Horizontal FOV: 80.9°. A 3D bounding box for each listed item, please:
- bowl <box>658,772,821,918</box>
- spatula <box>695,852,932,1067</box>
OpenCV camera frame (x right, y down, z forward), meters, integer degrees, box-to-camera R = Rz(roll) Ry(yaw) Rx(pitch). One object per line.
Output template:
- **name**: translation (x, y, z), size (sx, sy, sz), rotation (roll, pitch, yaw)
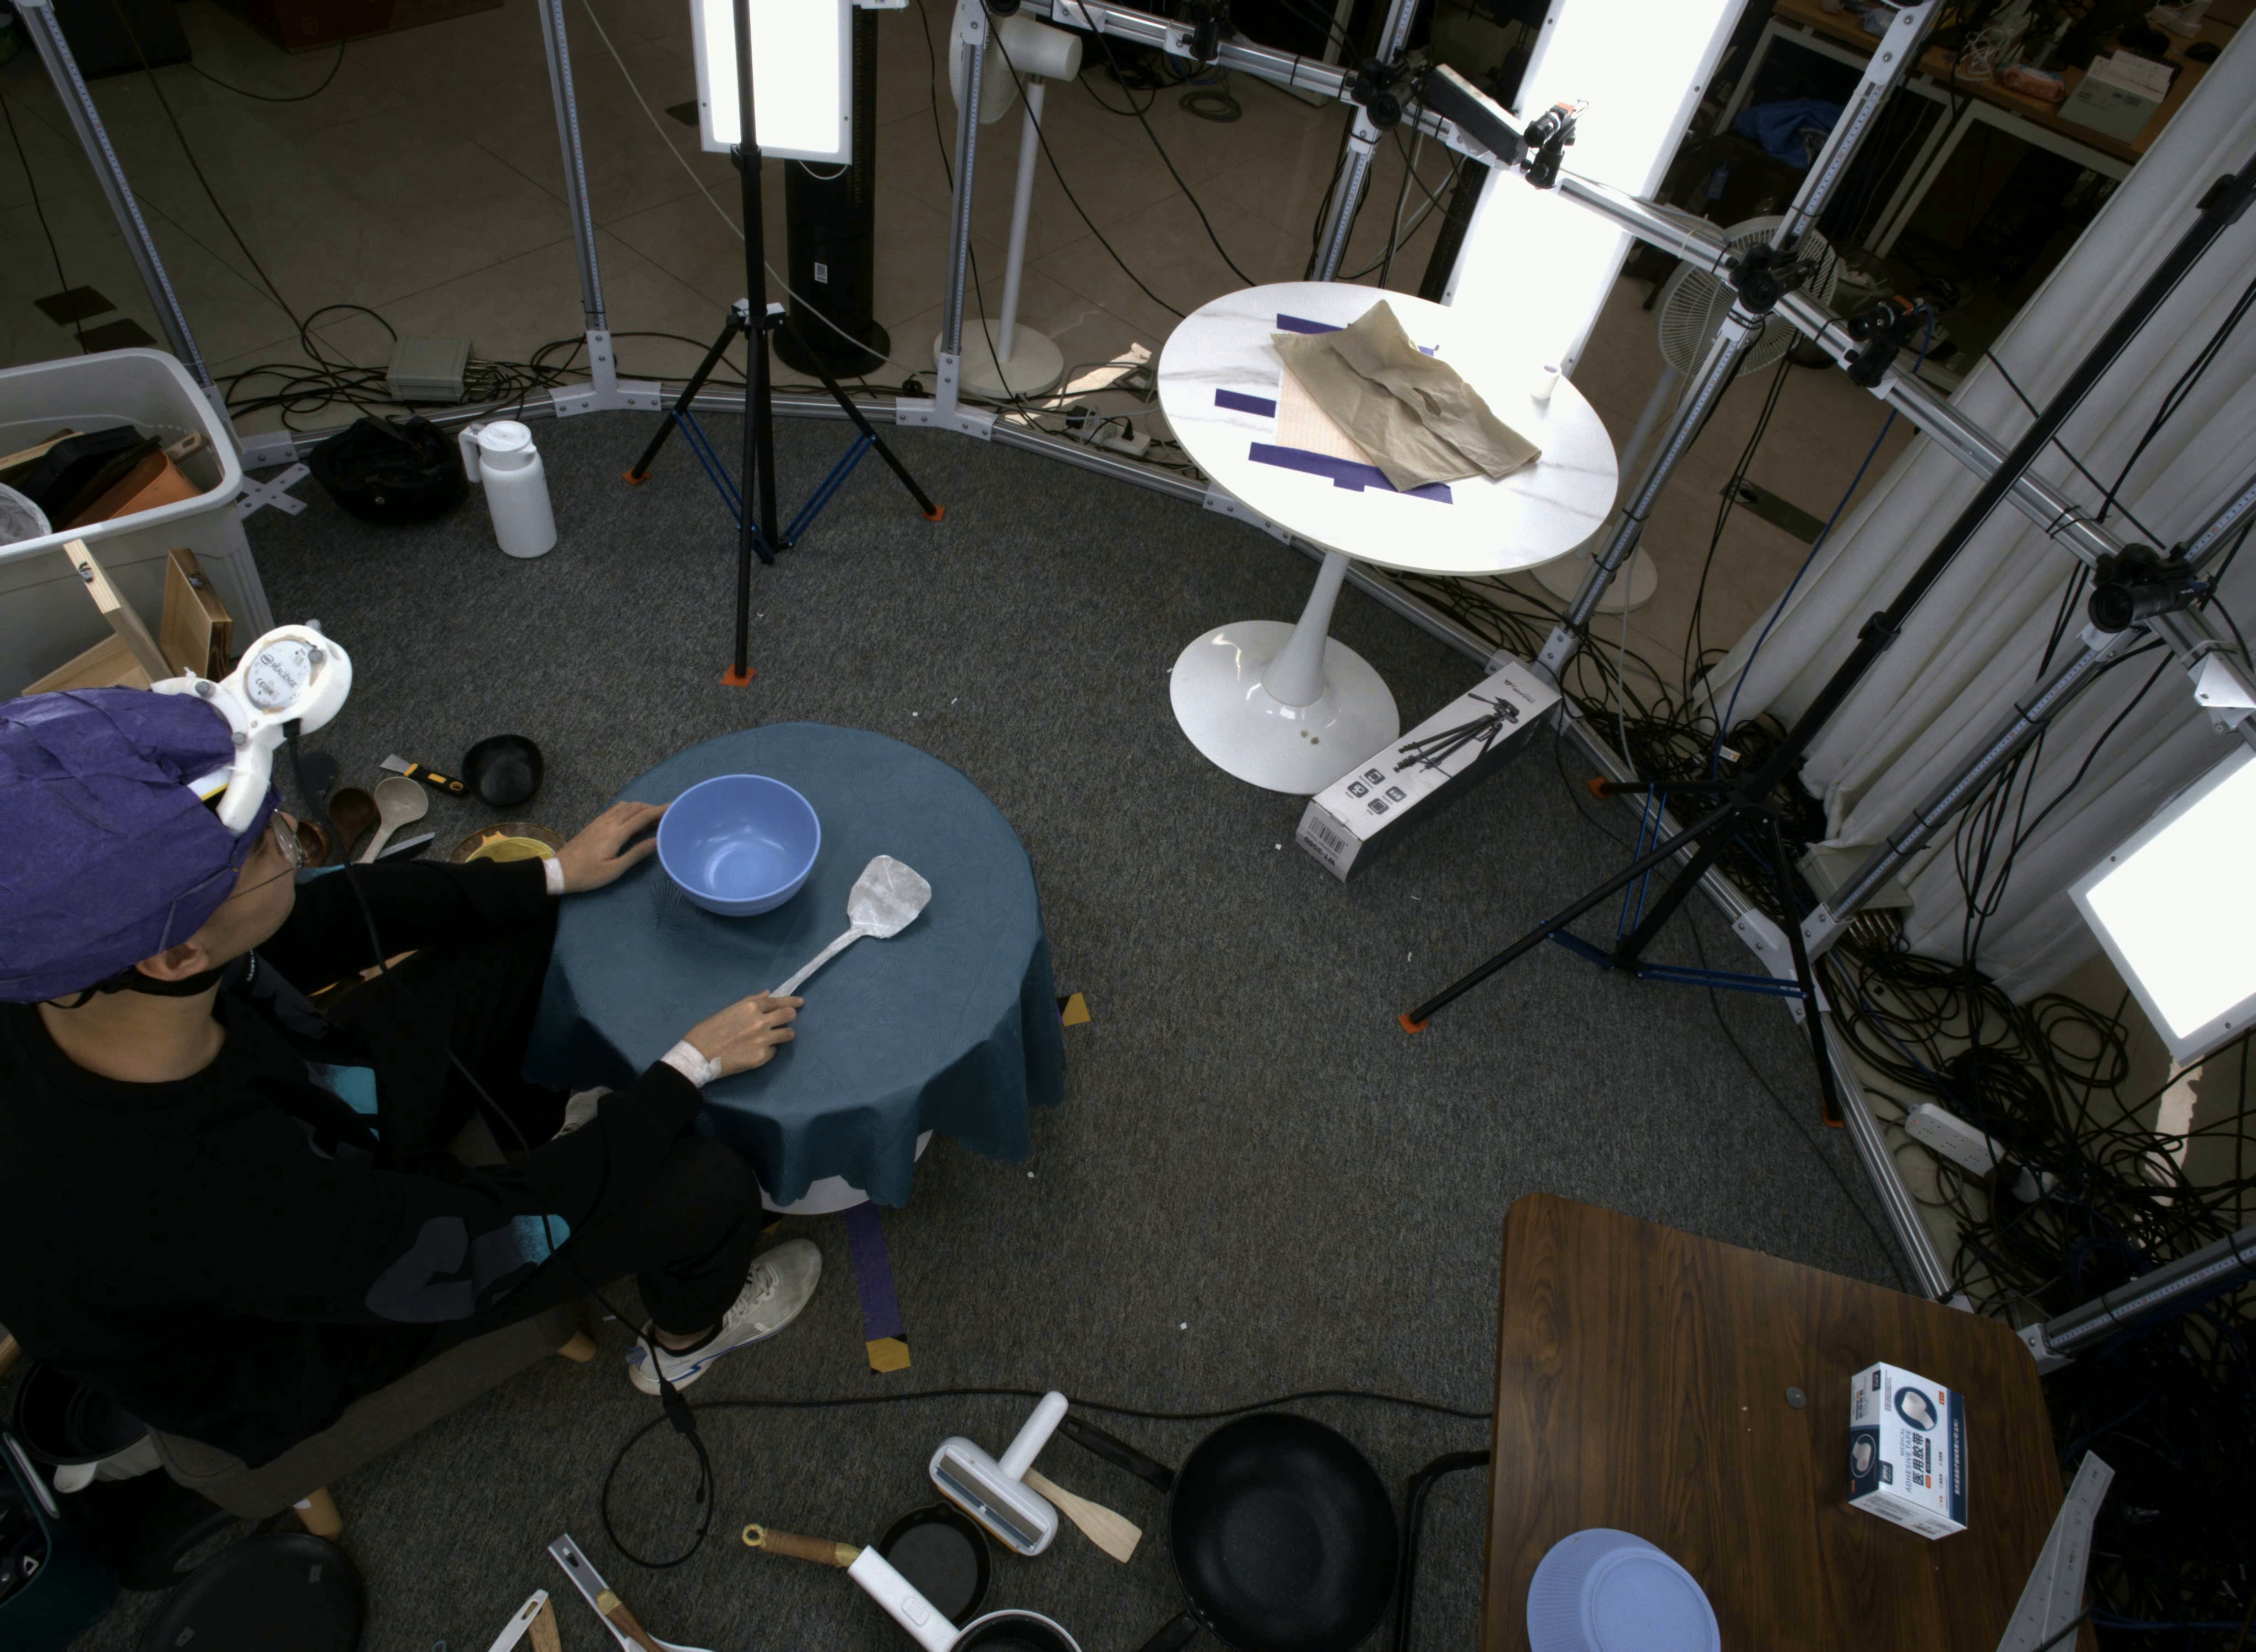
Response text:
- **bowl**: translation (-0.485, 0.038, 1.624), size (0.196, 0.097, 0.193), rotation (8, 53, -9)
- **spatula**: translation (-0.388, 0.166, 1.590), size (0.097, 0.045, 0.365), rotation (36, 53, 13)
